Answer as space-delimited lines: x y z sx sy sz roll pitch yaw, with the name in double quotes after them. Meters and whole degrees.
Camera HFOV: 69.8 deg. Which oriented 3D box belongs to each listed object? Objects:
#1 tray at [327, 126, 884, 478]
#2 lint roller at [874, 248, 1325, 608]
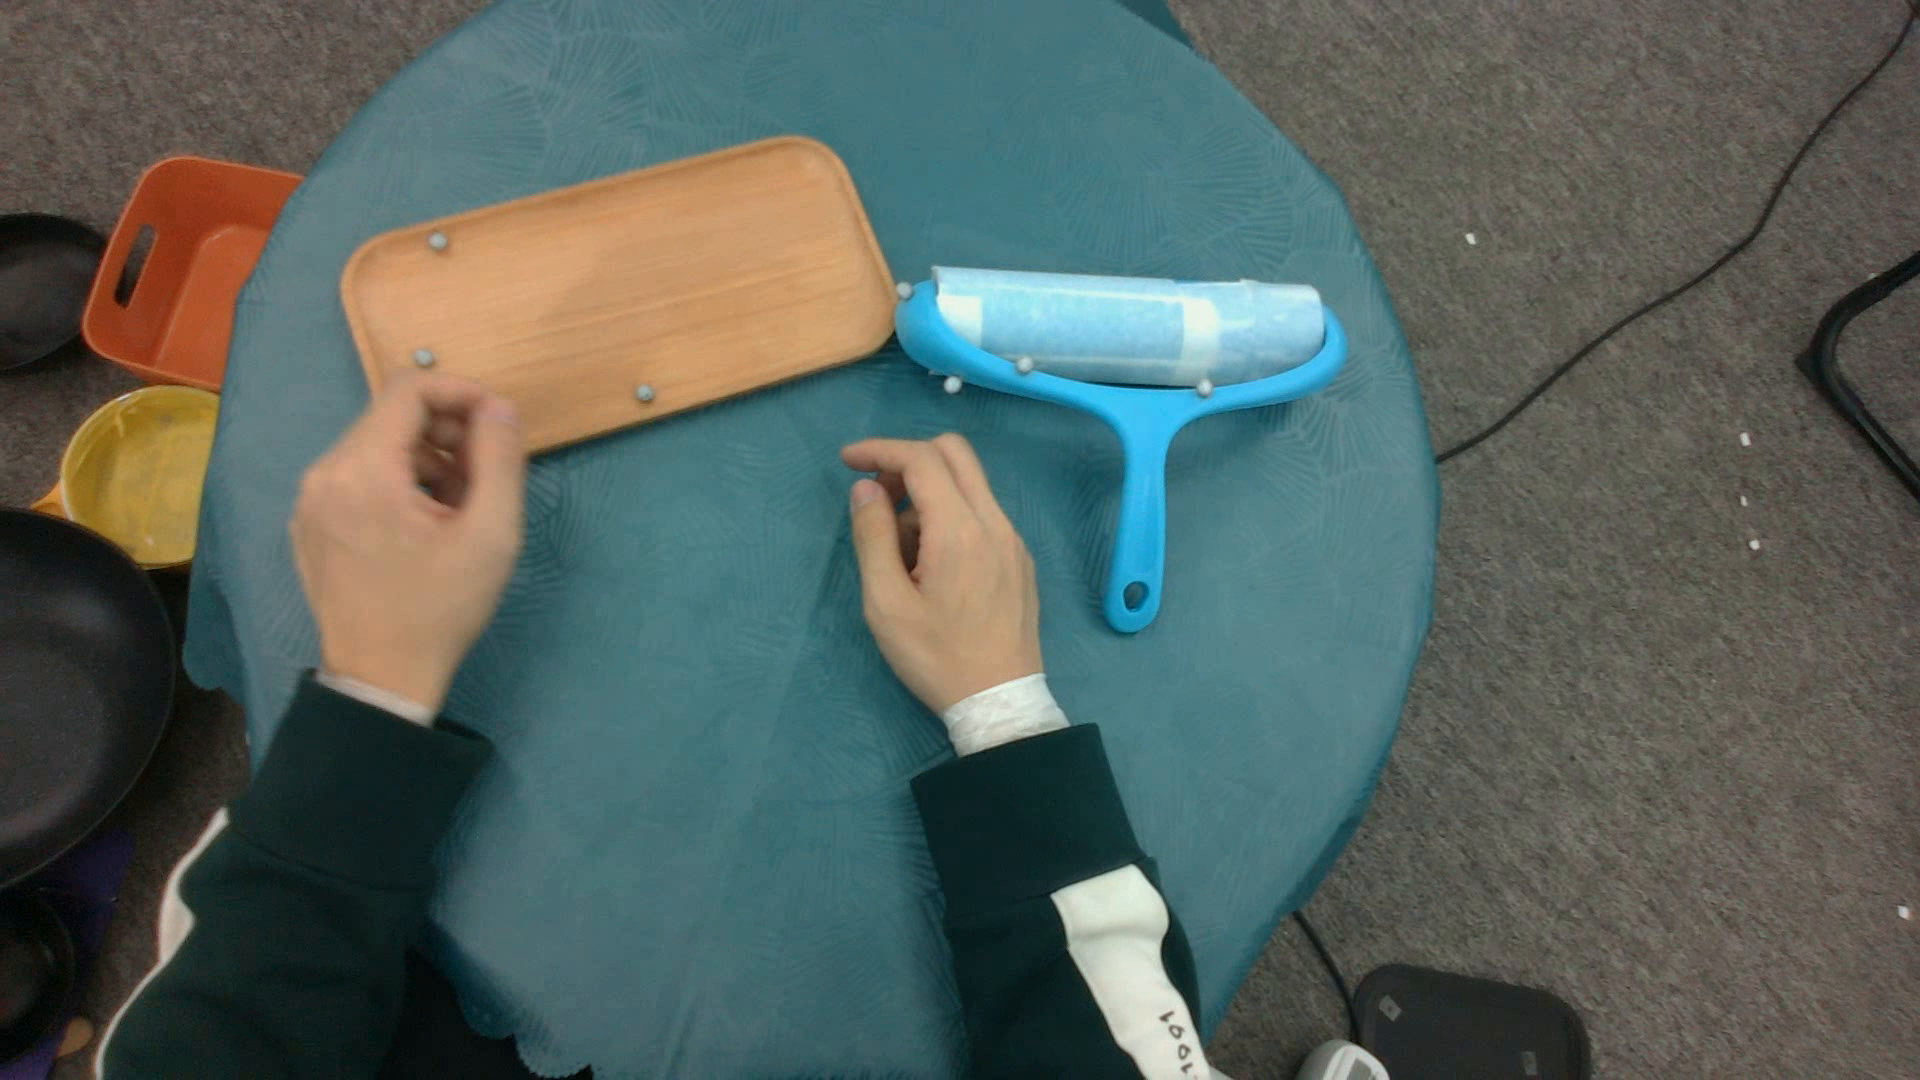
-0.168 -0.119 0.671 0.251 0.023 0.130 -19 80 -15 "tray"
0.077 -0.061 0.674 0.229 0.067 0.180 -3 73 -12 "lint roller"
